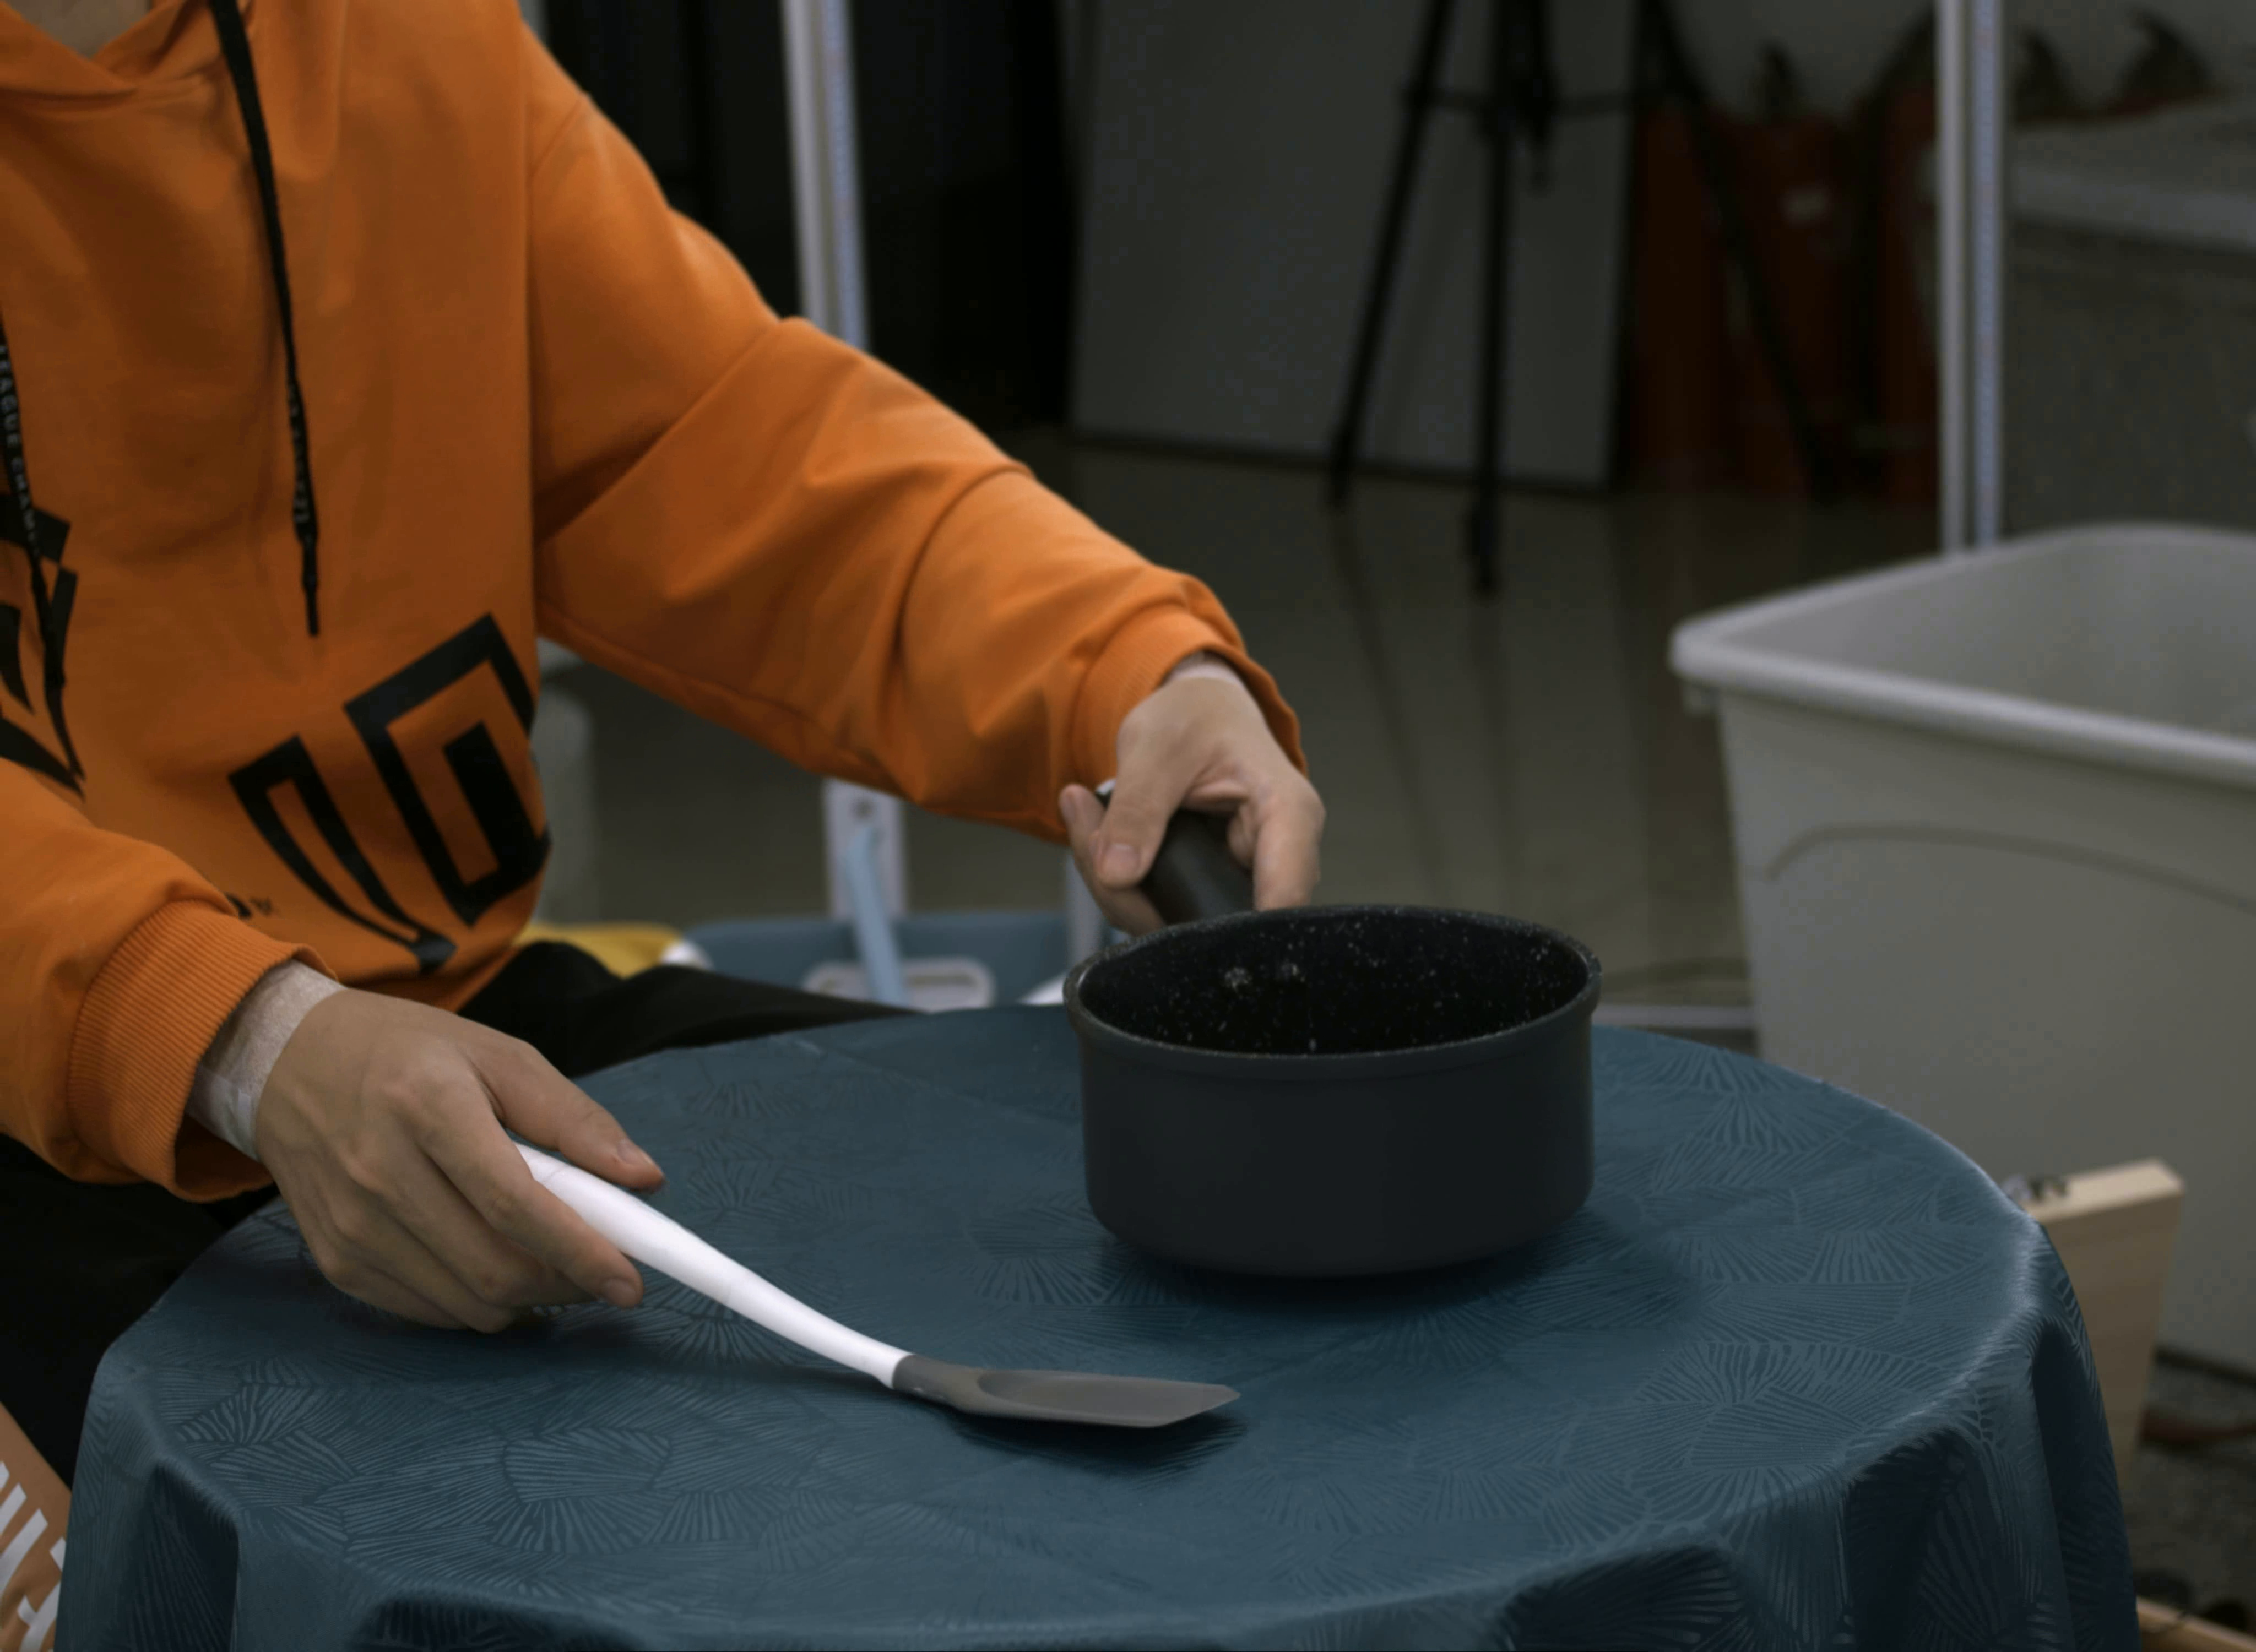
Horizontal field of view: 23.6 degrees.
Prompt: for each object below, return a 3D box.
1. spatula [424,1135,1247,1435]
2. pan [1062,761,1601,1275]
[{"bbox_3d":[-0.093,0.144,1.611,0.289,0.032,0.057,15,10,33],"label":"spatula"},{"bbox_3d":[0.048,0.059,1.774,0.169,0.087,0.331,-5,15,-11],"label":"pan"}]
